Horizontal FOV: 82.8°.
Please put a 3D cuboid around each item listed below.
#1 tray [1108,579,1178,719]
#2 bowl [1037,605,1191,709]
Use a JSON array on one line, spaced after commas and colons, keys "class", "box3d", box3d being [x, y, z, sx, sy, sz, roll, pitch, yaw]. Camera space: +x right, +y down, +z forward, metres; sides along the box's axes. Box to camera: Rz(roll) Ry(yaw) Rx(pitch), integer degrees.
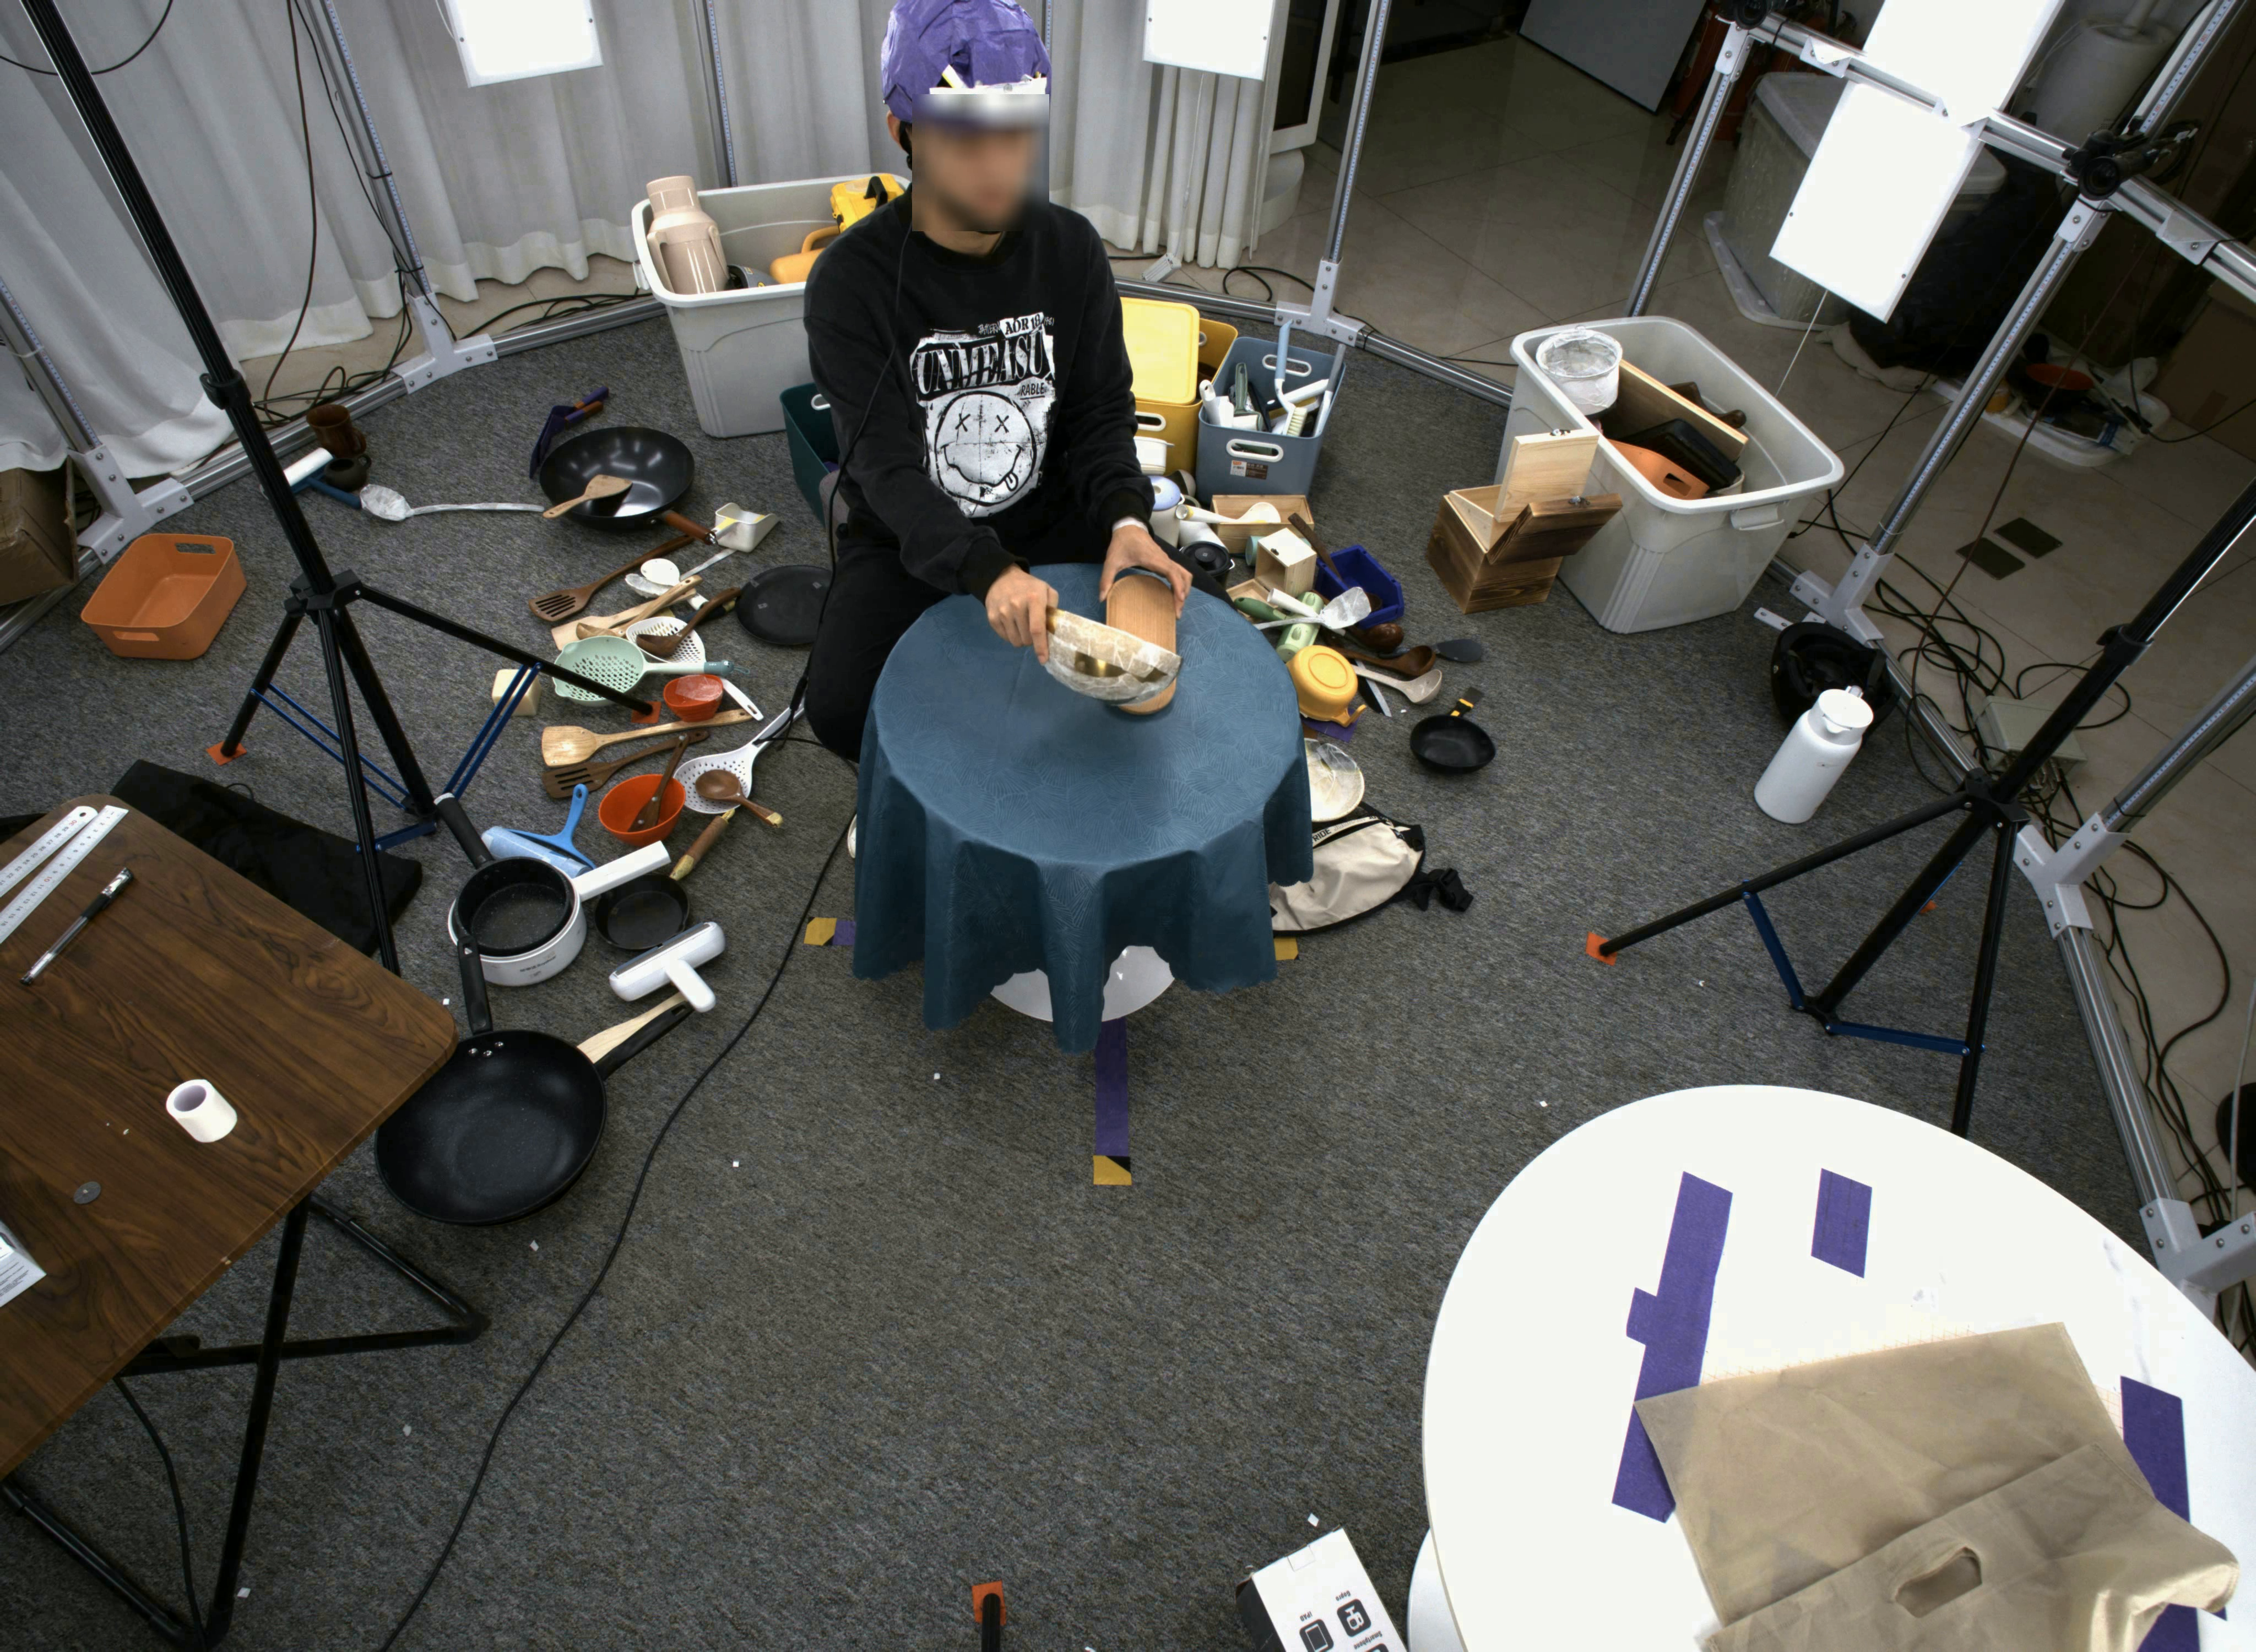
[{"class": "tray", "box3d": [0.021, -0.258, 1.864, 0.101, 0.020, 0.236, 1, 65, -2]}, {"class": "bowl", "box3d": [-0.033, -0.210, 1.688, 0.216, 0.094, 0.214, 21, 6, 13]}]
